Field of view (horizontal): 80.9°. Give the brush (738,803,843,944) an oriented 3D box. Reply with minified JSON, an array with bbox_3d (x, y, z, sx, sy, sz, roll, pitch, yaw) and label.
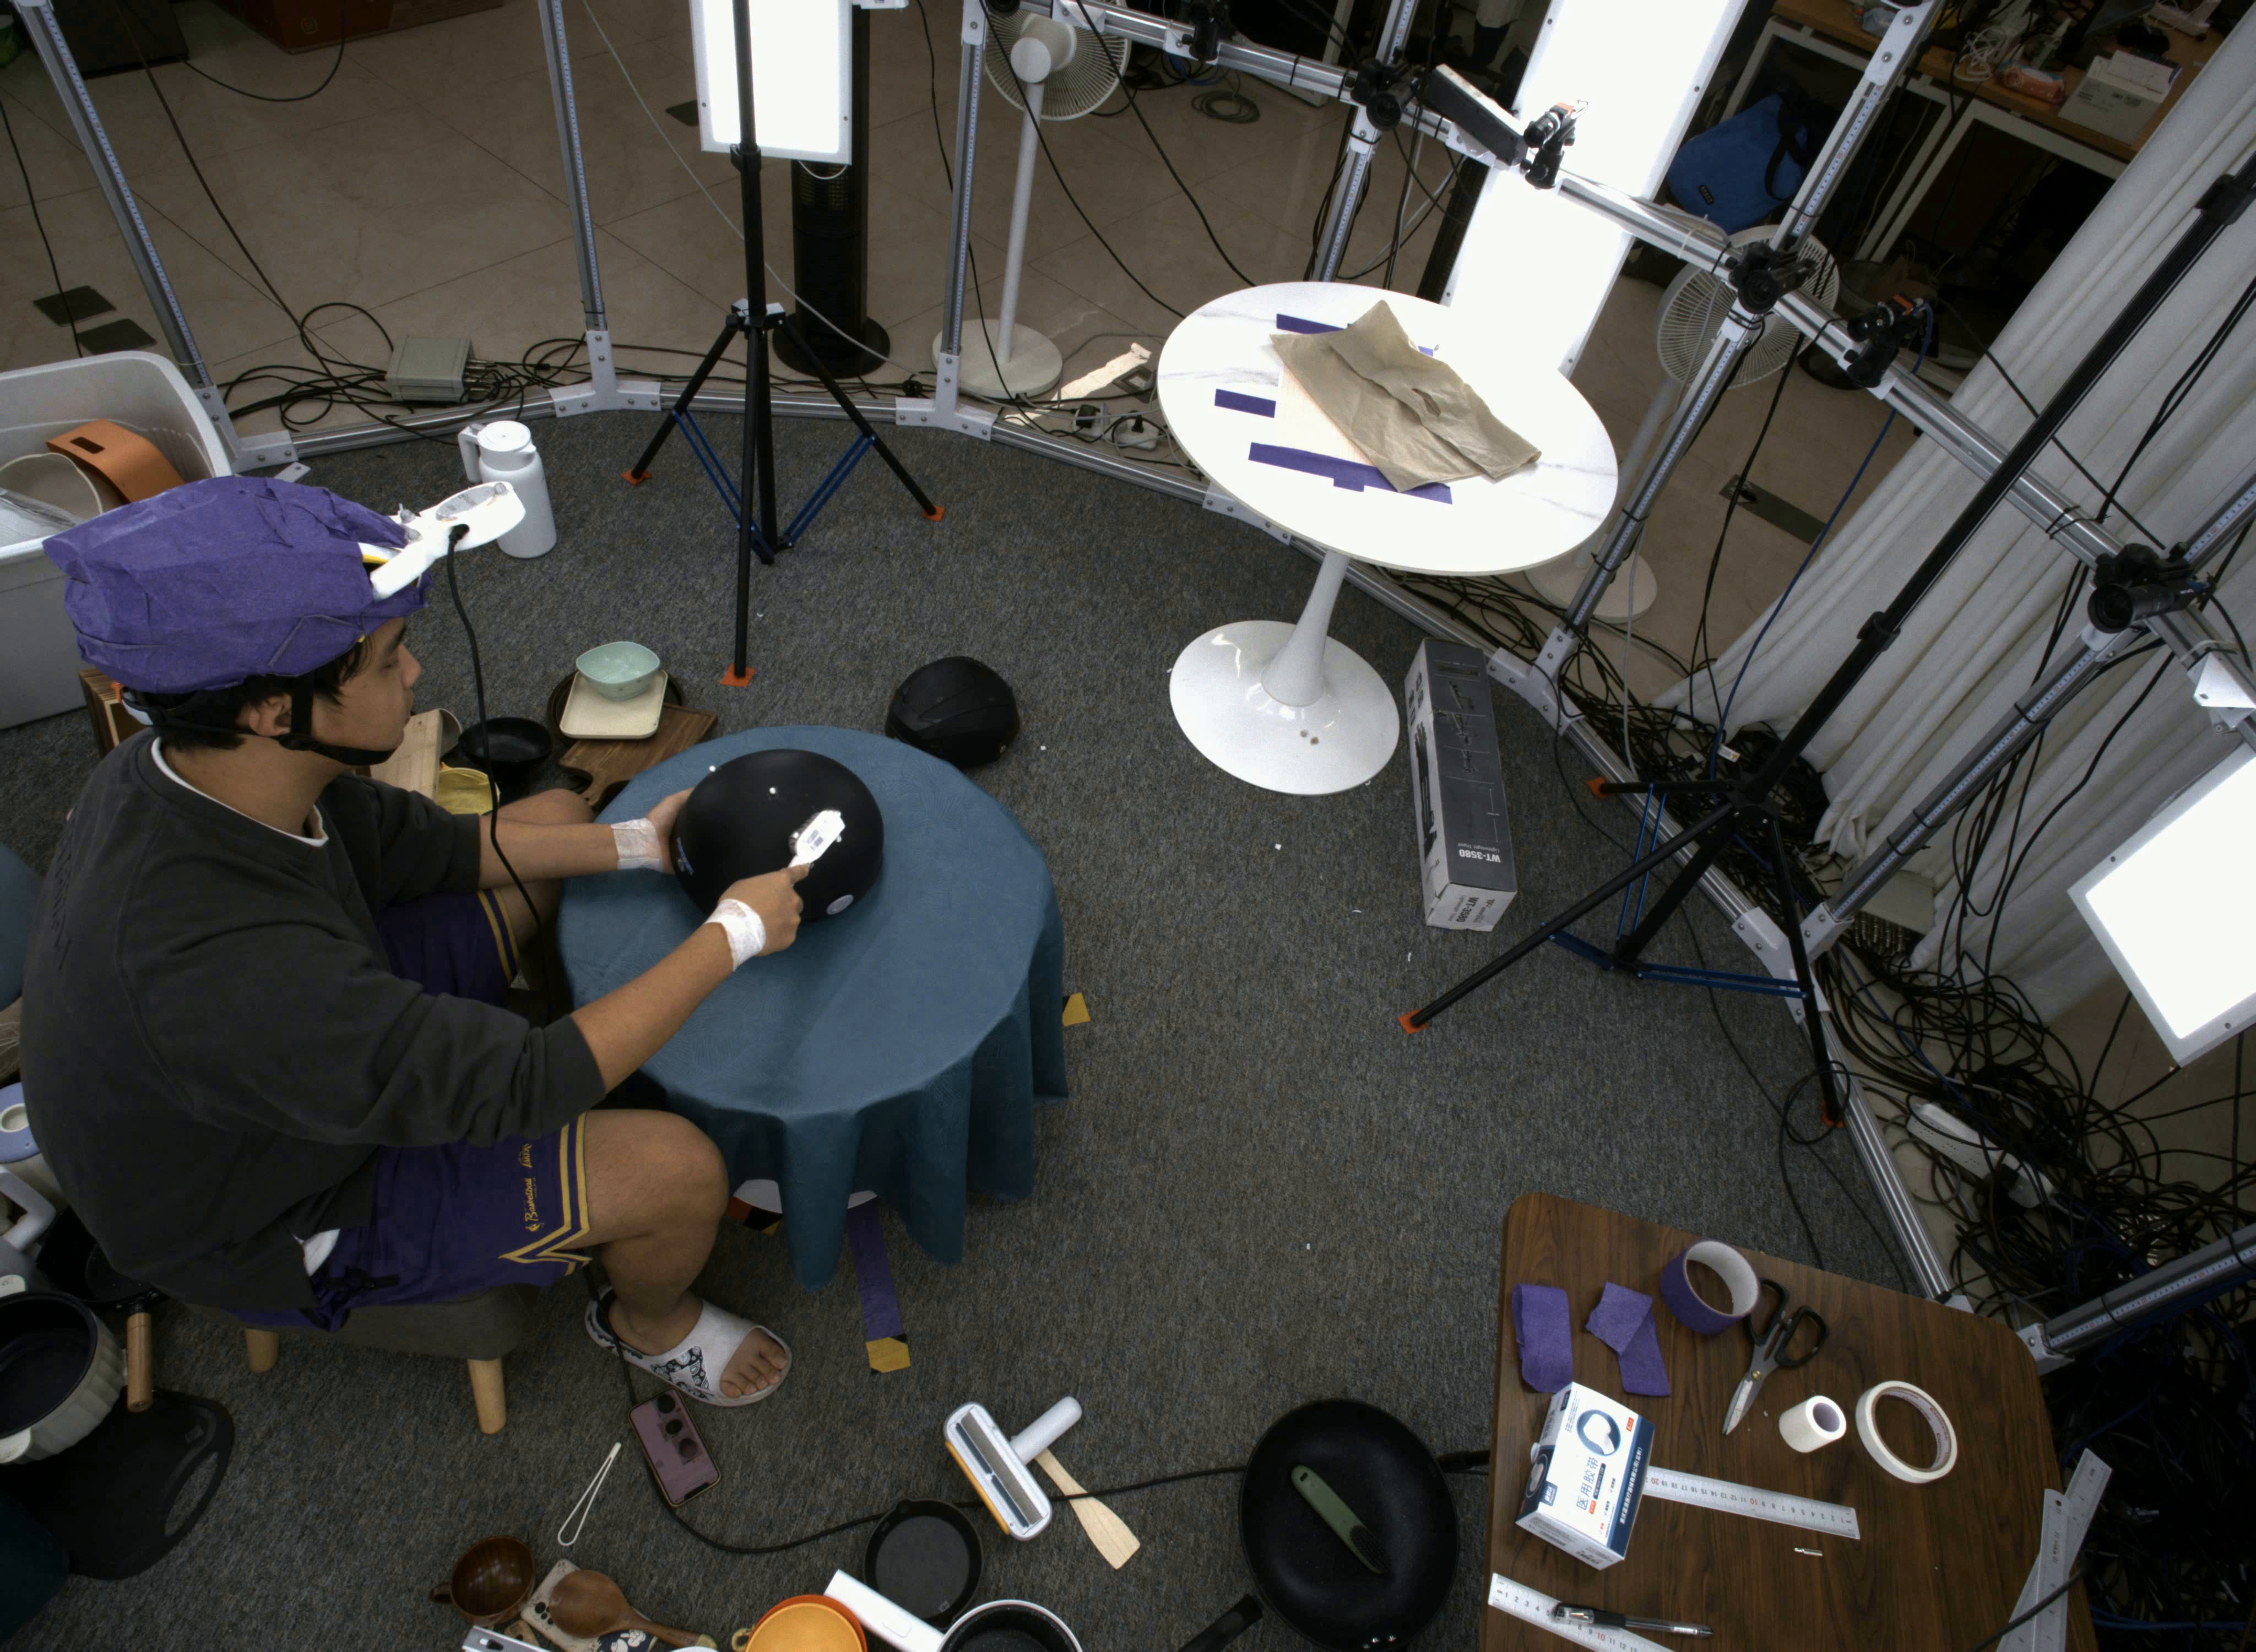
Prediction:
[{"bbox_3d":[-0.389,0.055,1.466,0.035,0.049,0.240,45,36,-19],"label":"brush"}]

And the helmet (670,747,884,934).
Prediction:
[{"bbox_3d":[-0.431,-0.001,1.616,0.275,0.168,0.226,-13,66,-27],"label":"helmet"}]
